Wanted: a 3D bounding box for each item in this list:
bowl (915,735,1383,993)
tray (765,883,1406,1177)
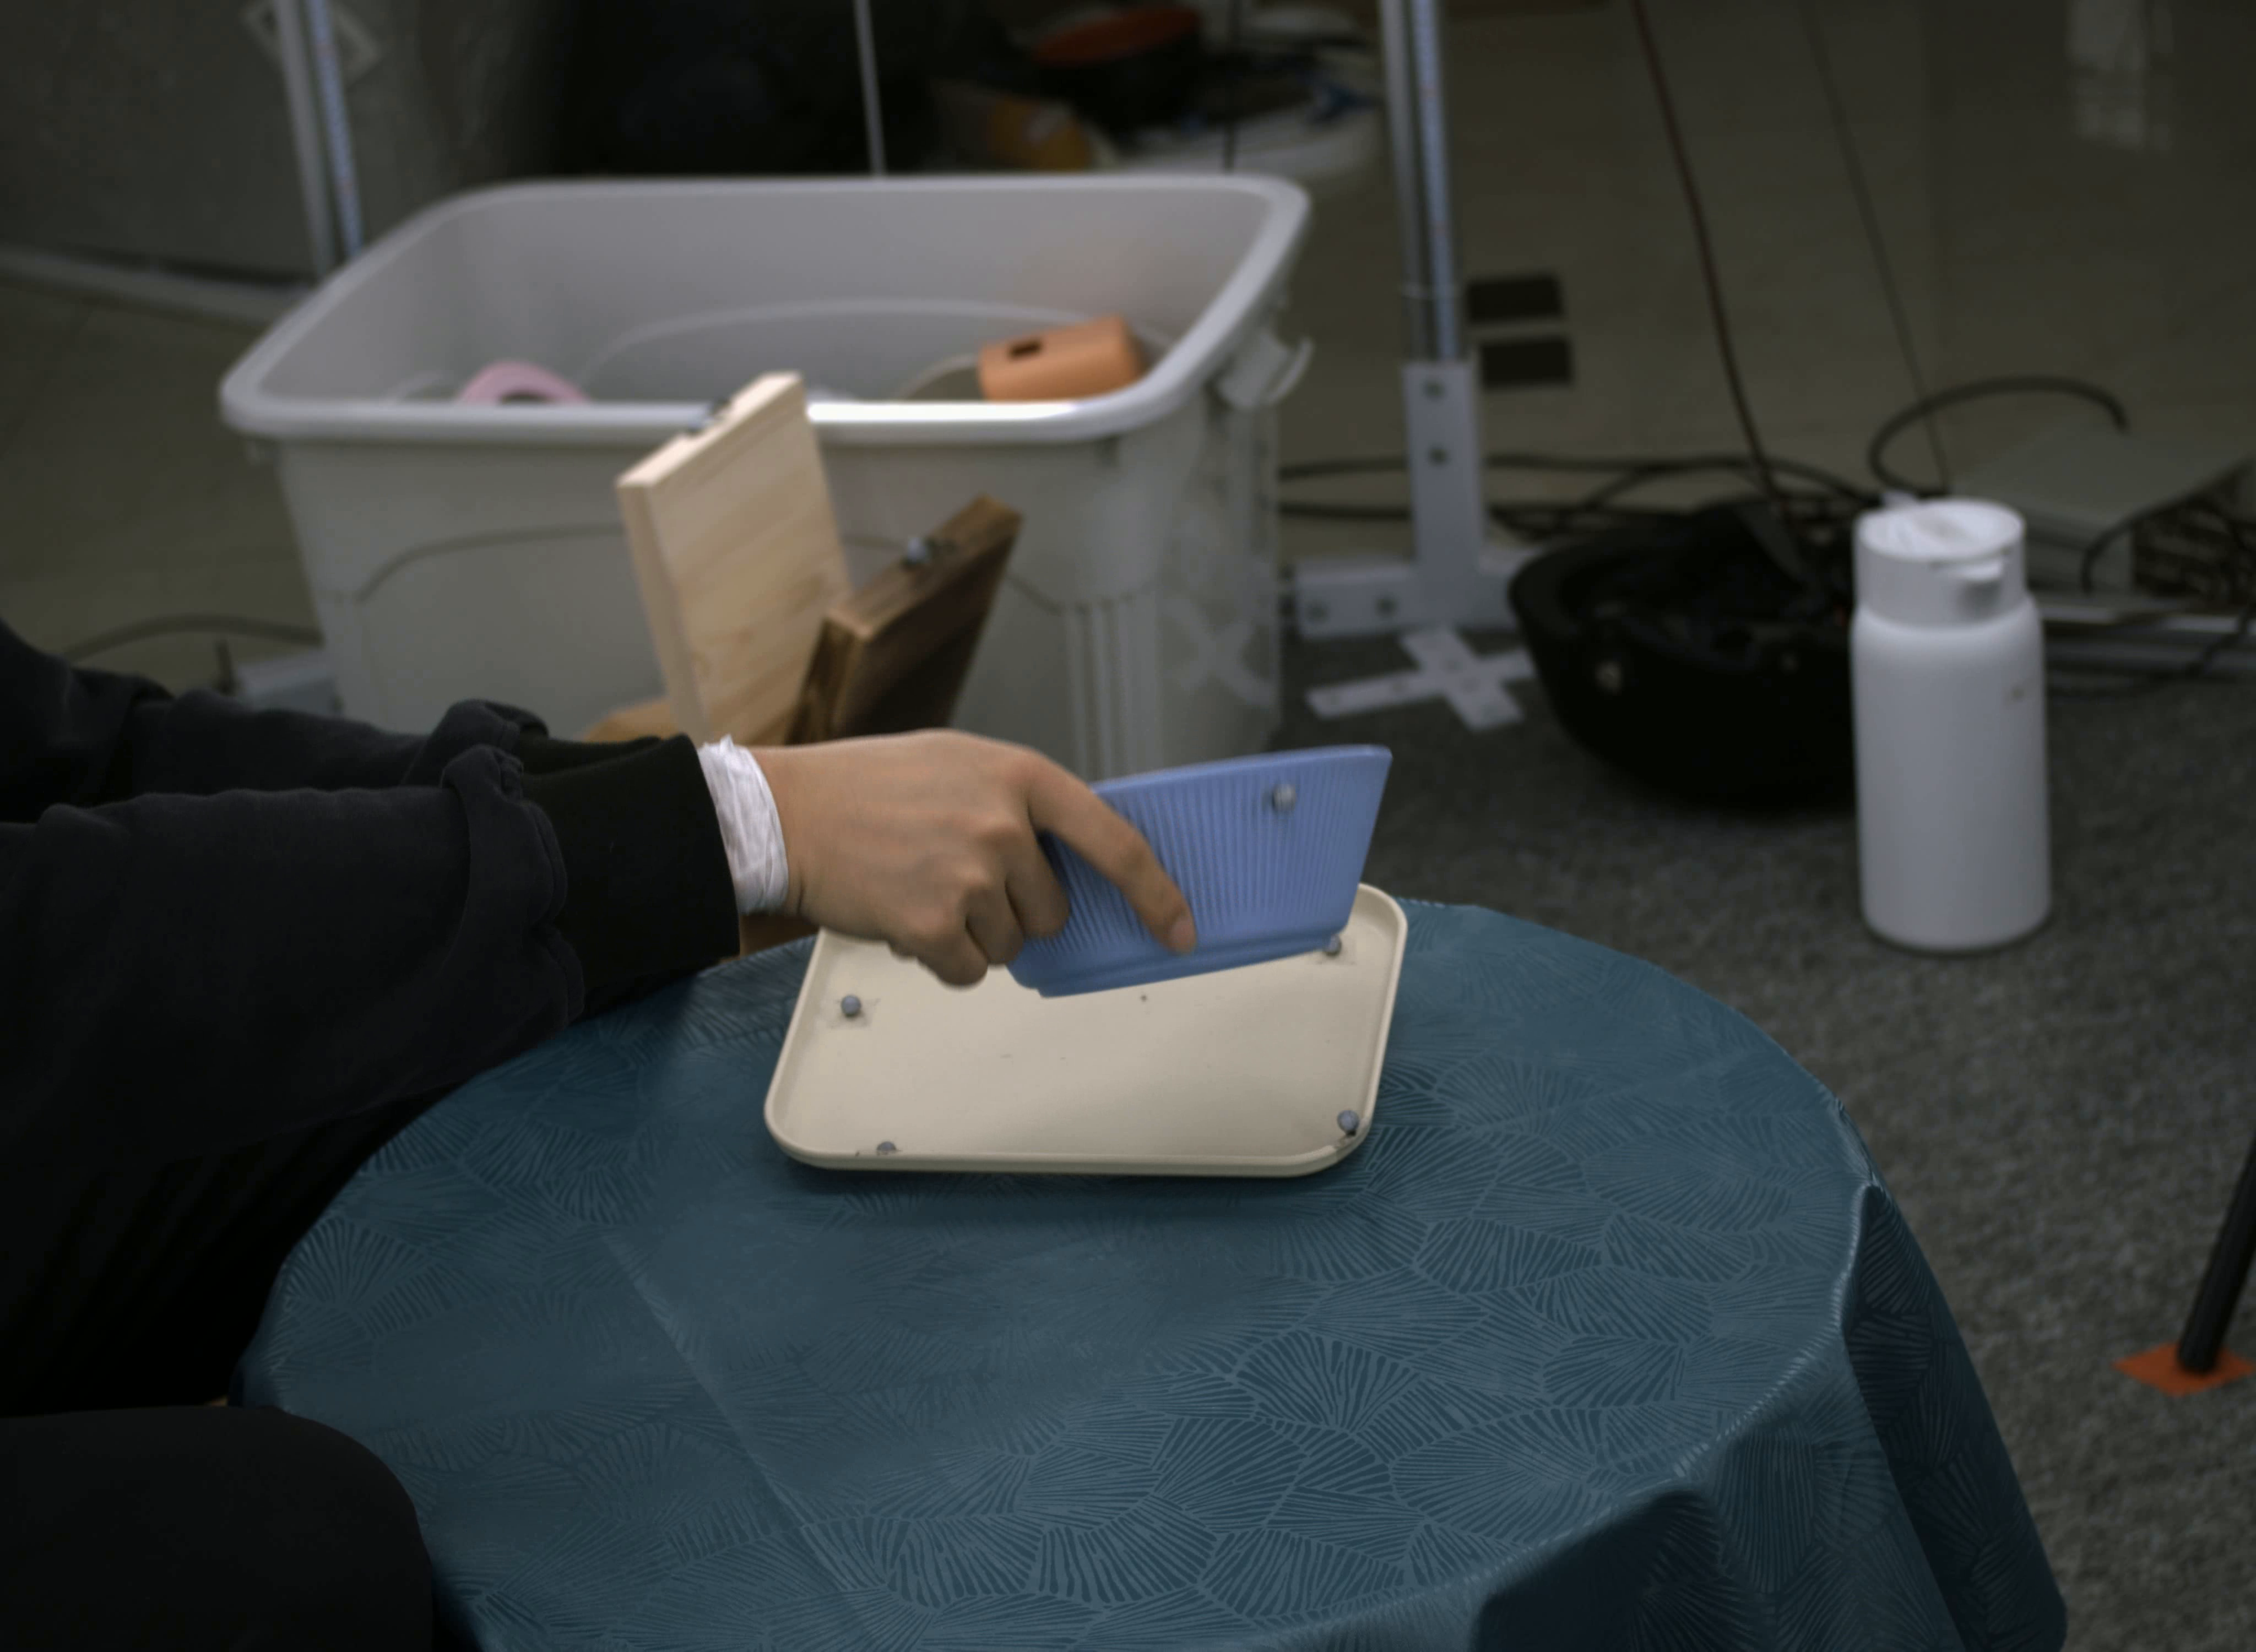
[{"bbox_3d":[0.013,0.017,2.077,0.176,0.070,0.176,-10,-6,-1],"label":"bowl"},{"bbox_3d":[-0.015,0.080,2.220,0.239,0.018,0.168,0,38,11],"label":"tray"}]
